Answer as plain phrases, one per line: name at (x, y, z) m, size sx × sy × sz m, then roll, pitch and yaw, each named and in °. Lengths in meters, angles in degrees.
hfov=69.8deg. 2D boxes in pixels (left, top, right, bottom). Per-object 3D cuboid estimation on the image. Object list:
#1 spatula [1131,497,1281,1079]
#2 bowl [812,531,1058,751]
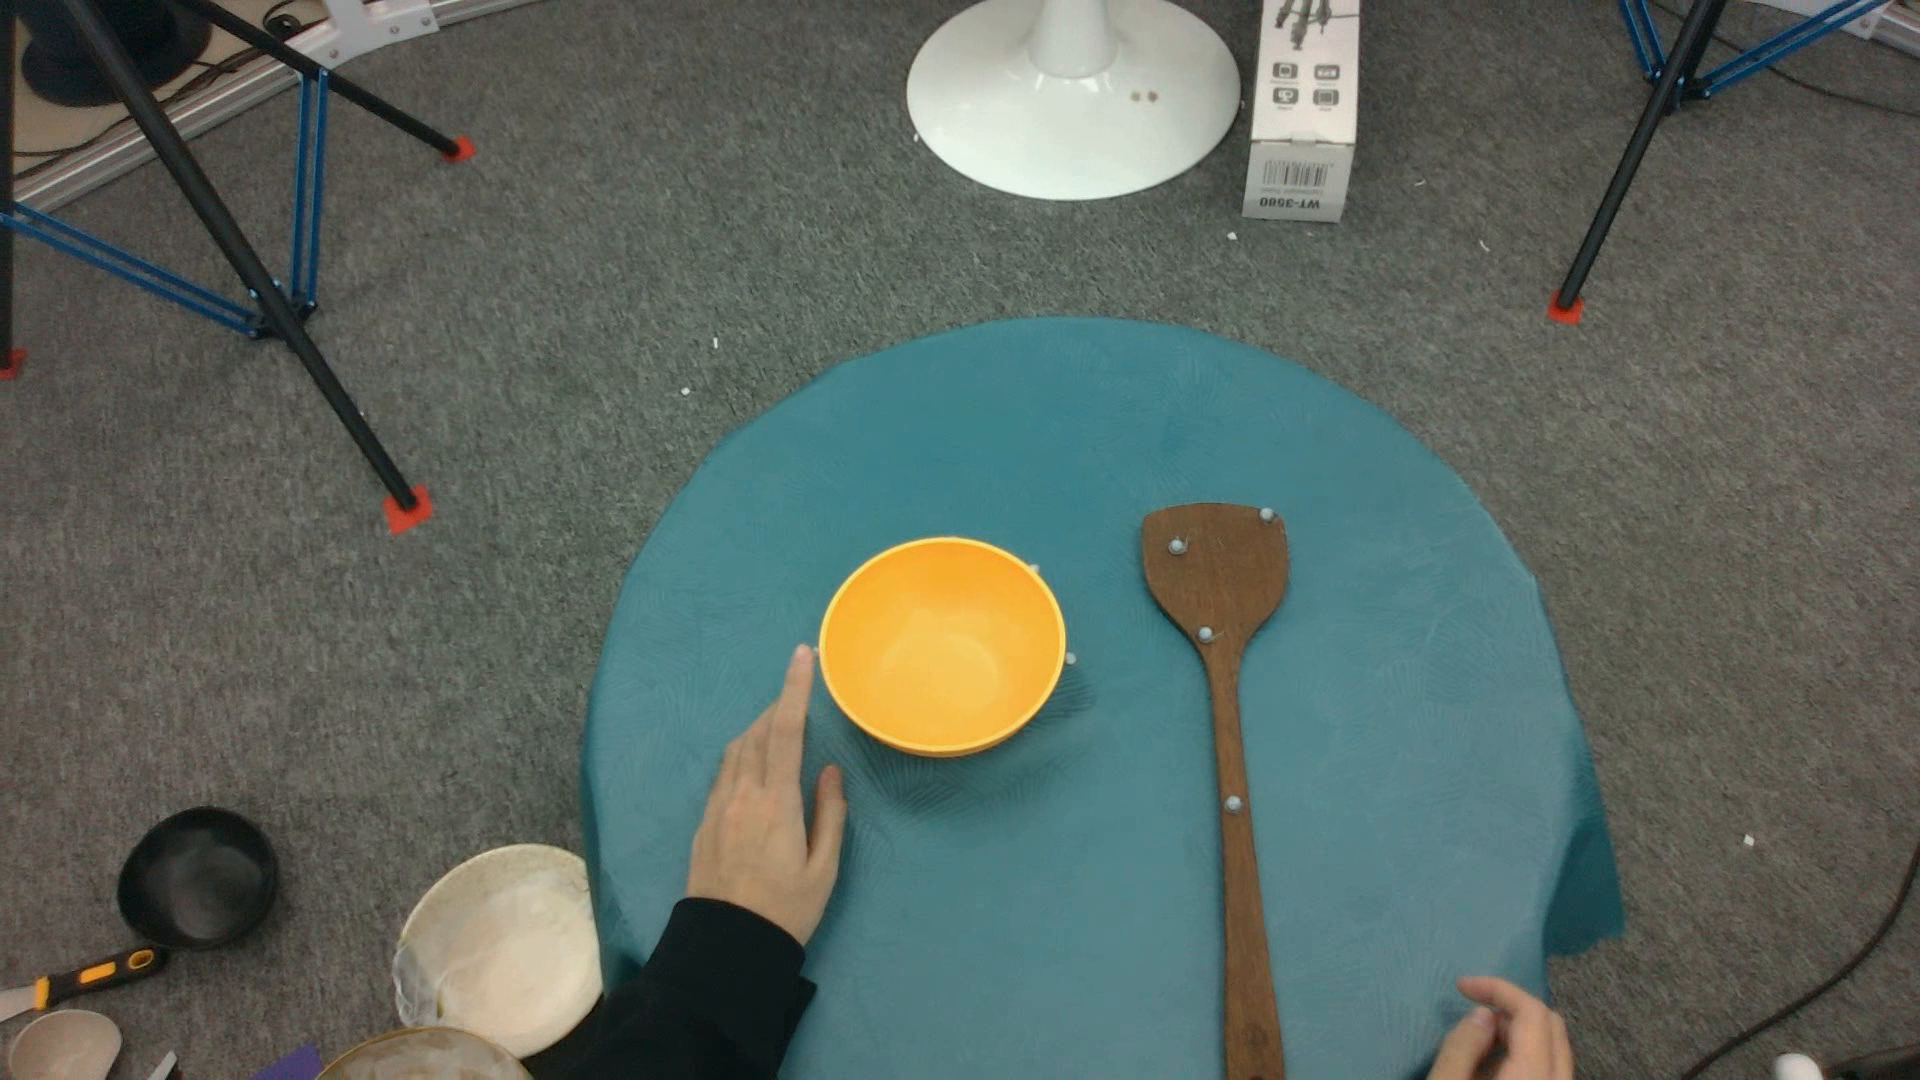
spatula at (0.154, 0.133, 0.801) m, size 0.096 × 0.016 × 0.387 m, roll 0°, pitch 55°, yaw 3°
bowl at (-0.013, 0.069, 0.826) m, size 0.145 × 0.060 × 0.146 m, roll -2°, pitch 56°, yaw 3°
